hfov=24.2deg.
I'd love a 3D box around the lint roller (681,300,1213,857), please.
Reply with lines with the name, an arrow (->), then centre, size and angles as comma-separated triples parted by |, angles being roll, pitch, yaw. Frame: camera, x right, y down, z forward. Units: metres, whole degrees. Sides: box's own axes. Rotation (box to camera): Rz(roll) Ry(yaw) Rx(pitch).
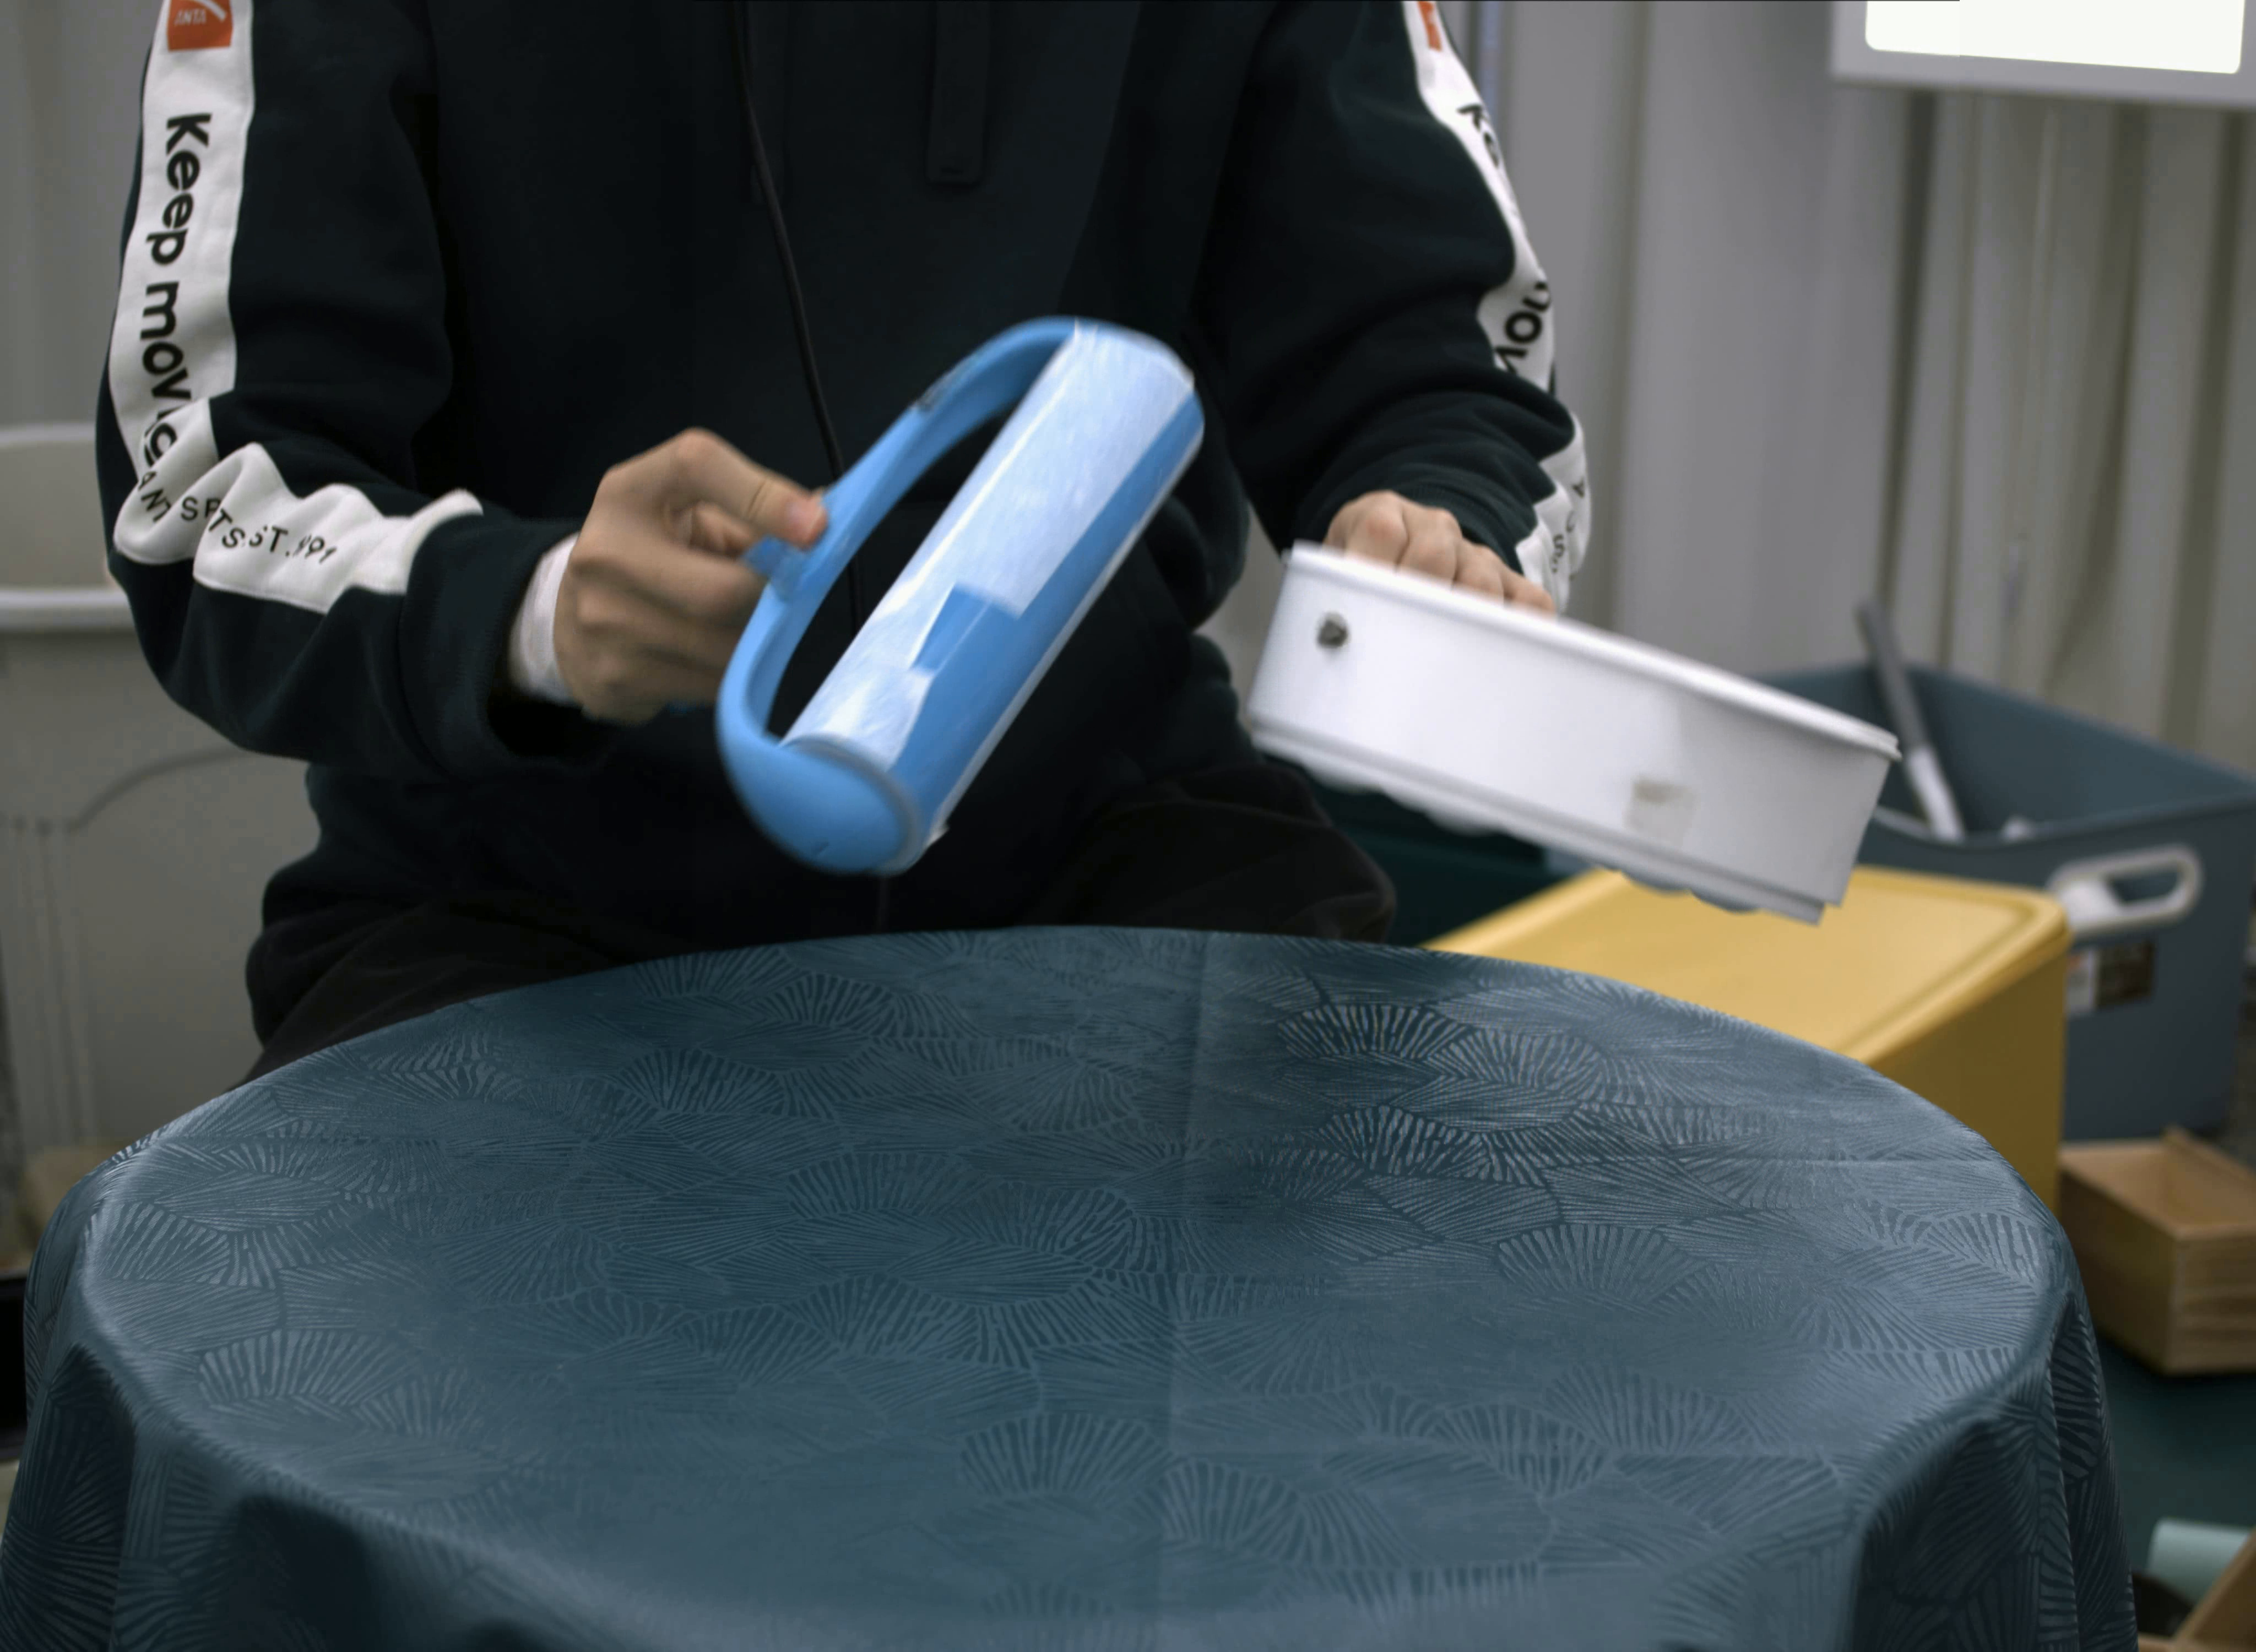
lint roller -> -0.083, -0.070, 1.633 | 0.178, 0.069, 0.228 | -8, 40, 35

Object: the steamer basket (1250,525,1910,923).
steamer basket -> 0.136, -0.028, 1.618 | 0.204, 0.069, 0.228 | 20, -1, -34
